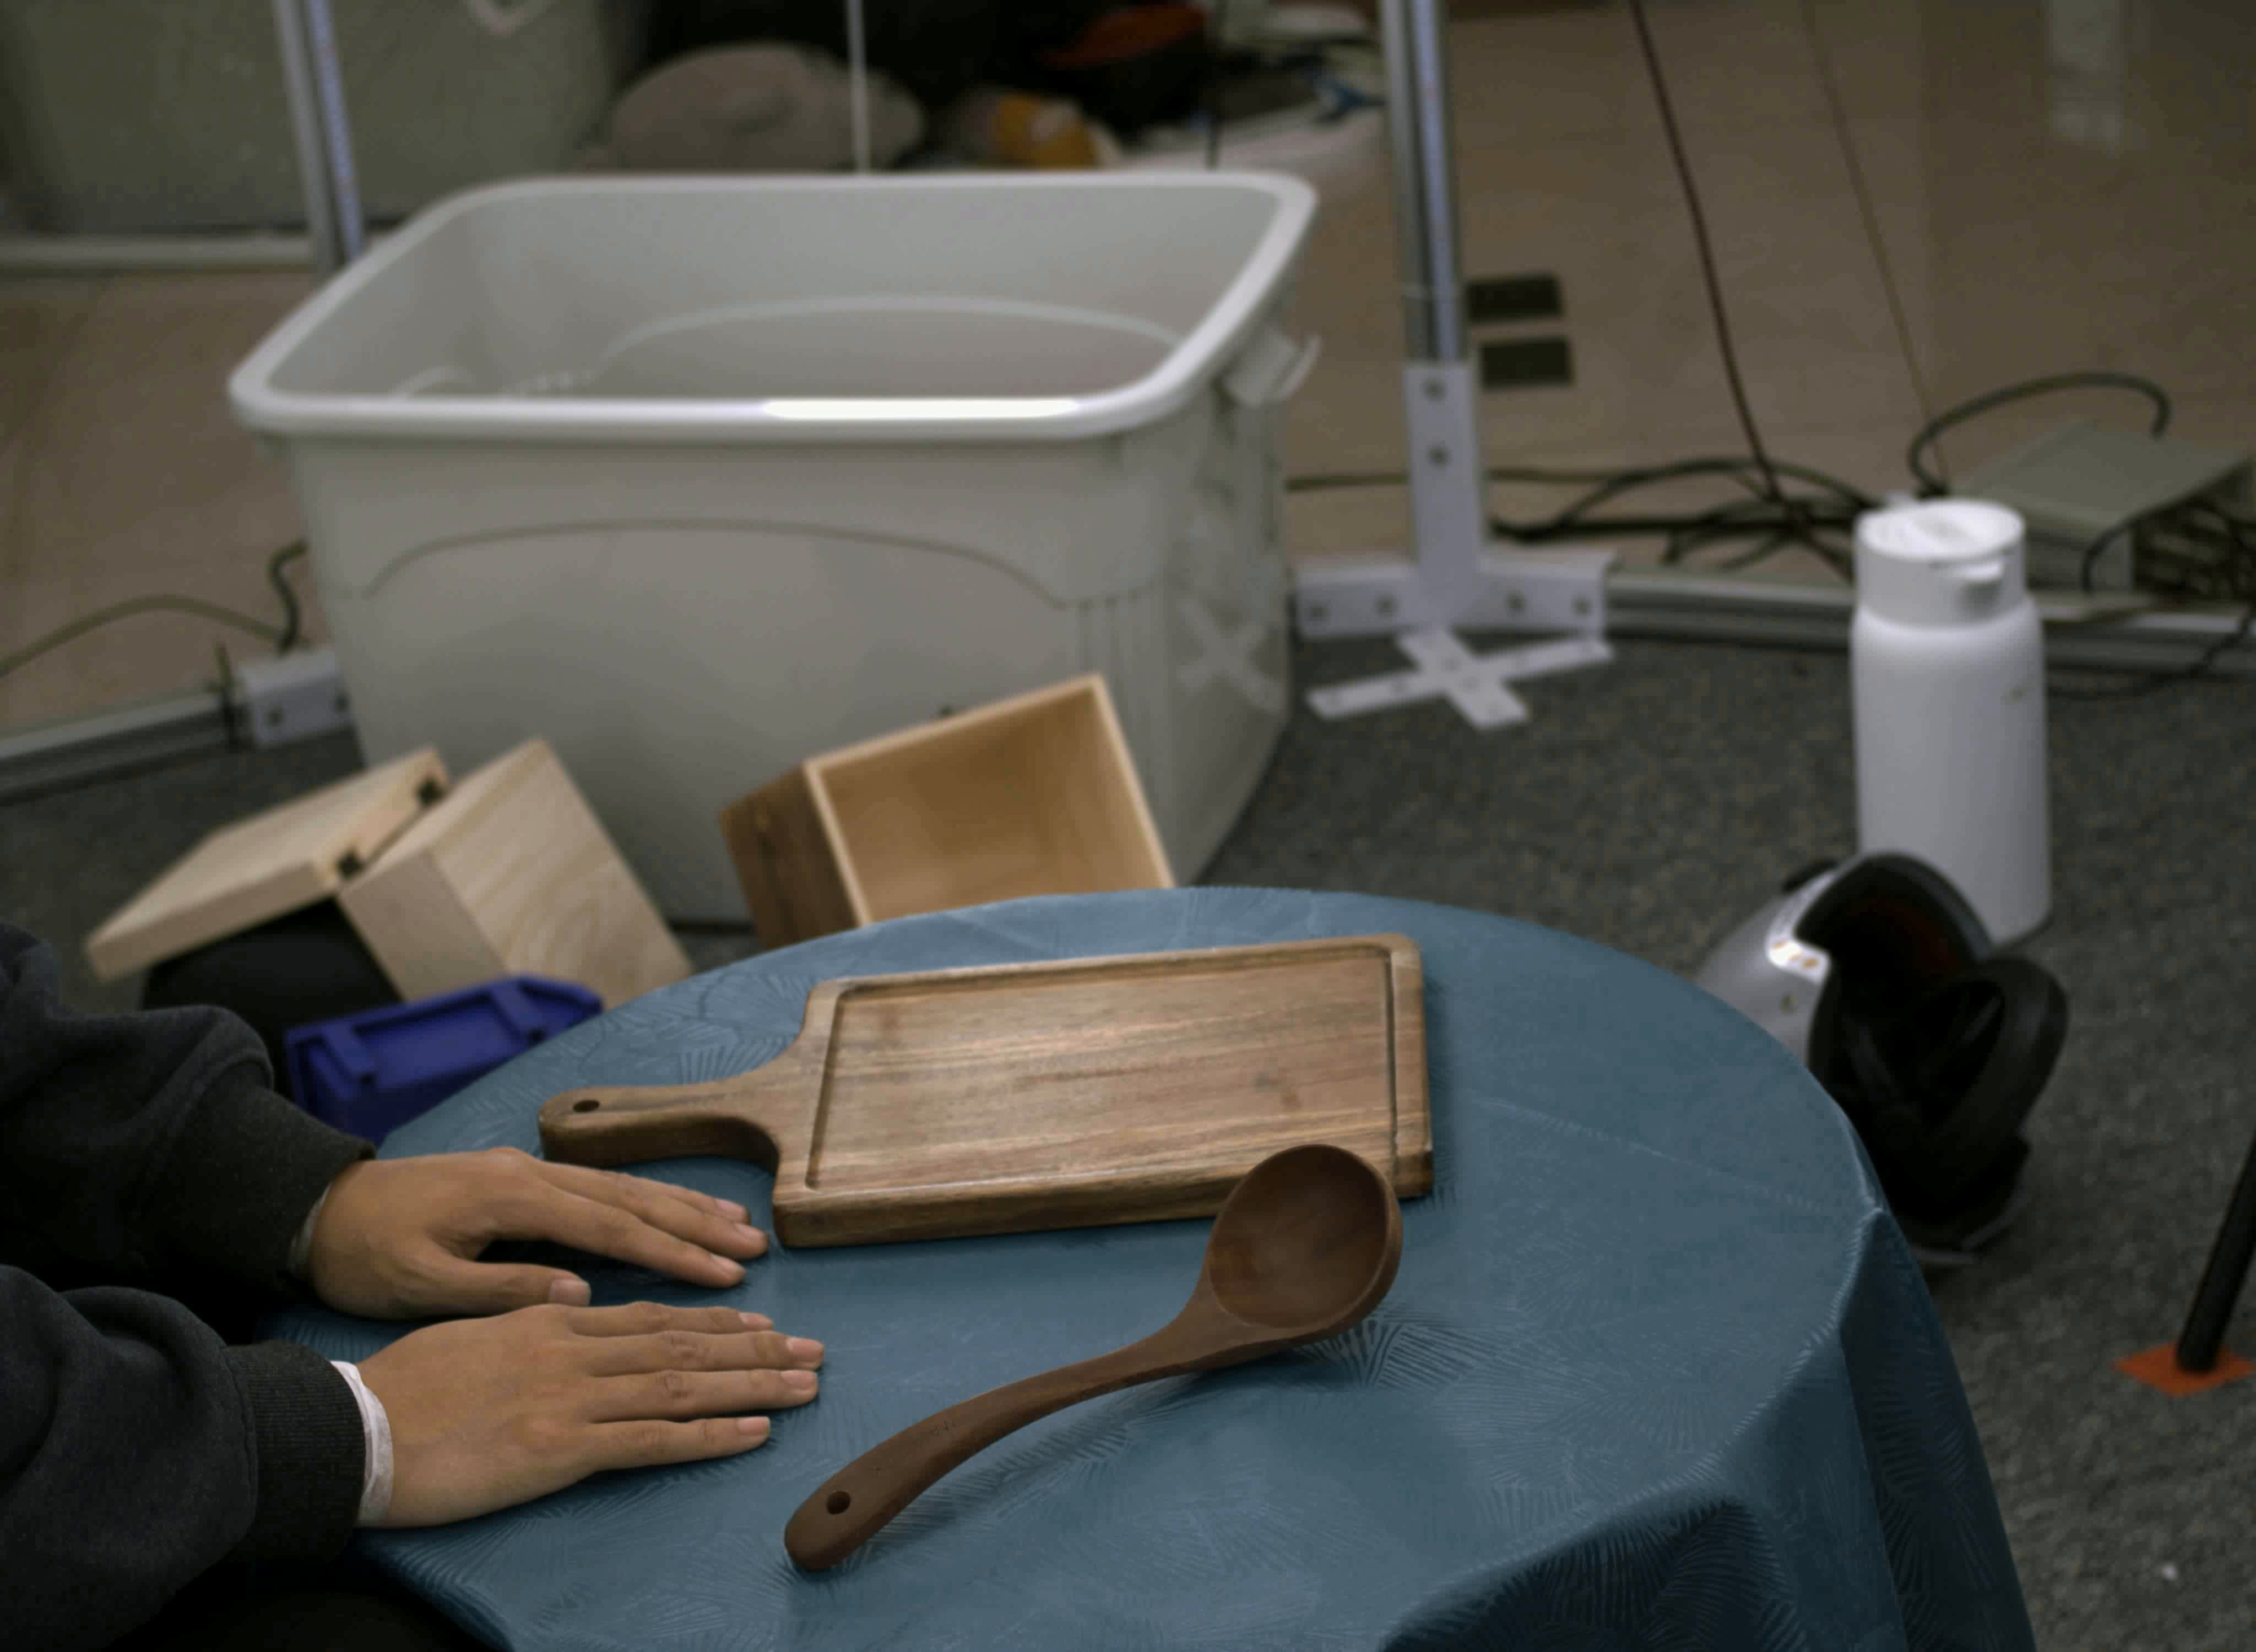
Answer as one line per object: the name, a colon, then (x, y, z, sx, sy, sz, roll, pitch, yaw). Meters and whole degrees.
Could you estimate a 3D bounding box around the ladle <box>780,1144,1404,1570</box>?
ladle: (-0.014, 0.183, 1.978, 0.258, 0.066, 0.075, -22, 37, -30)

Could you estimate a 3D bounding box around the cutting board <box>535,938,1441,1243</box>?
cutting board: (-0.056, 0.104, 2.208, 0.351, 0.023, 0.198, -5, 24, 3)
